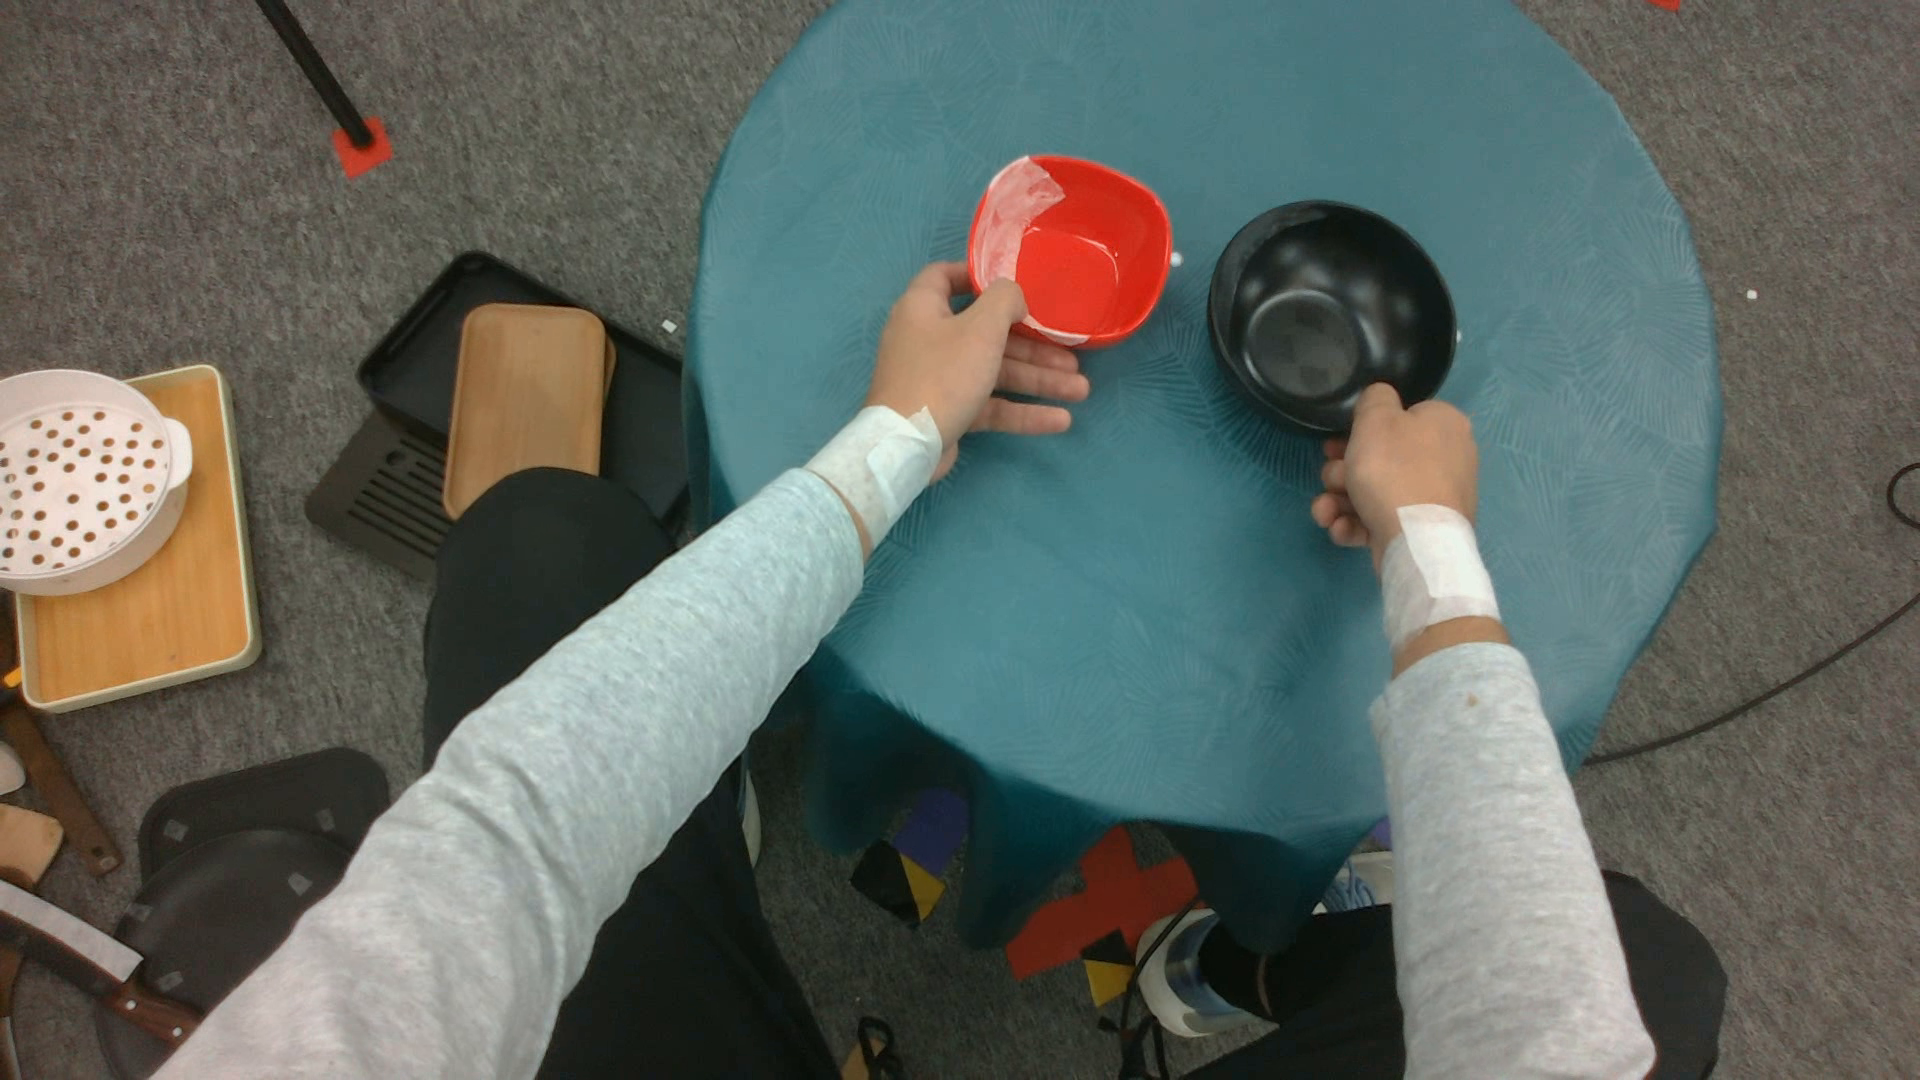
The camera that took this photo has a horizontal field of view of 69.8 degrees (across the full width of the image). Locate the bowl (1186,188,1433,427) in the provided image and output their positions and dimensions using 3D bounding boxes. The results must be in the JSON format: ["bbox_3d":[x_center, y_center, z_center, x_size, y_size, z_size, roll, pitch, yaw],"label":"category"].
[{"bbox_3d":[0.189,-0.124,0.773,0.140,0.049,0.140,2,76,-6],"label":"bowl"}]

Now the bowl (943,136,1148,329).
[{"bbox_3d":[0.044,-0.163,0.770,0.119,0.051,0.119,2,70,-7],"label":"bowl"}]
